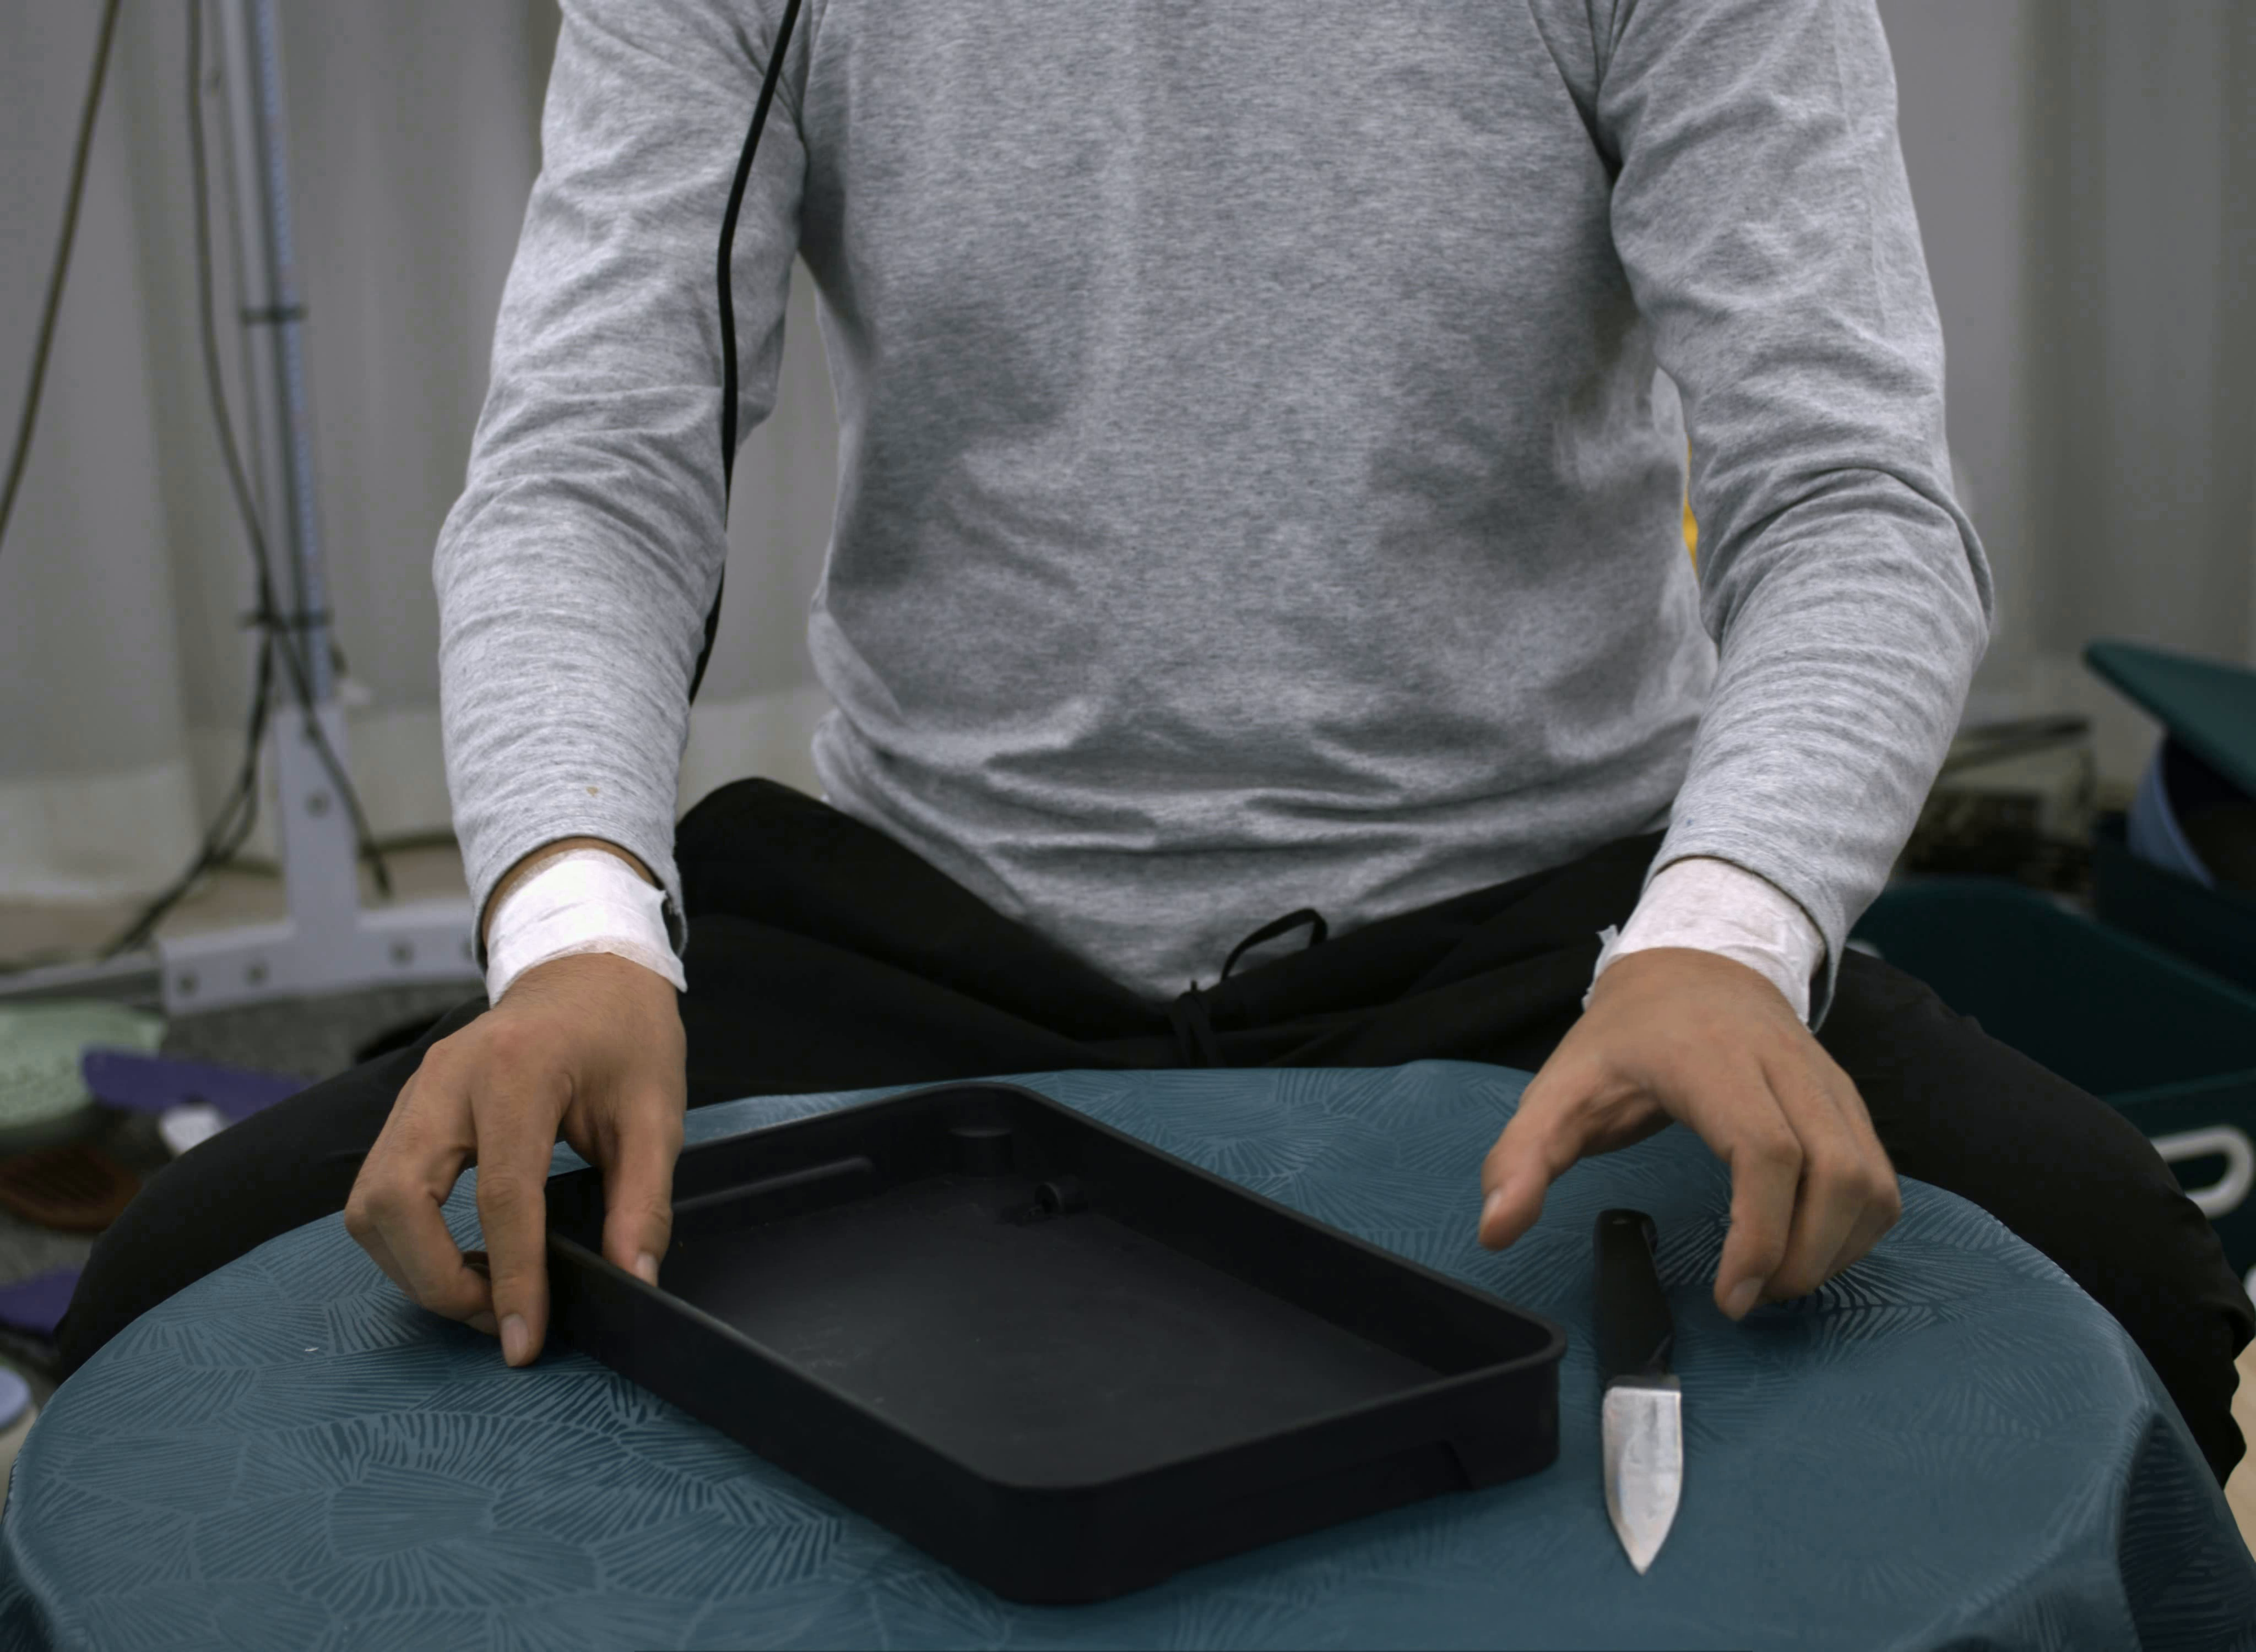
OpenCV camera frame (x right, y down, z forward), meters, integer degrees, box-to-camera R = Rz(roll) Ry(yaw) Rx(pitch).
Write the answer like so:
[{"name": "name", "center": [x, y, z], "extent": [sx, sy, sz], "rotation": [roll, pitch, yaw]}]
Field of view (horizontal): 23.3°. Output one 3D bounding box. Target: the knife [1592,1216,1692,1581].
[{"name": "knife", "center": [0.140, 0.157, 1.510], "extent": [0.024, 0.016, 0.240], "rotation": [0, 17, 3]}]

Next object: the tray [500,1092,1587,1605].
[{"name": "tray", "center": [-0.030, 0.142, 1.553], "extent": [0.183, 0.037, 0.320], "rotation": [-12, 16, -32]}]
